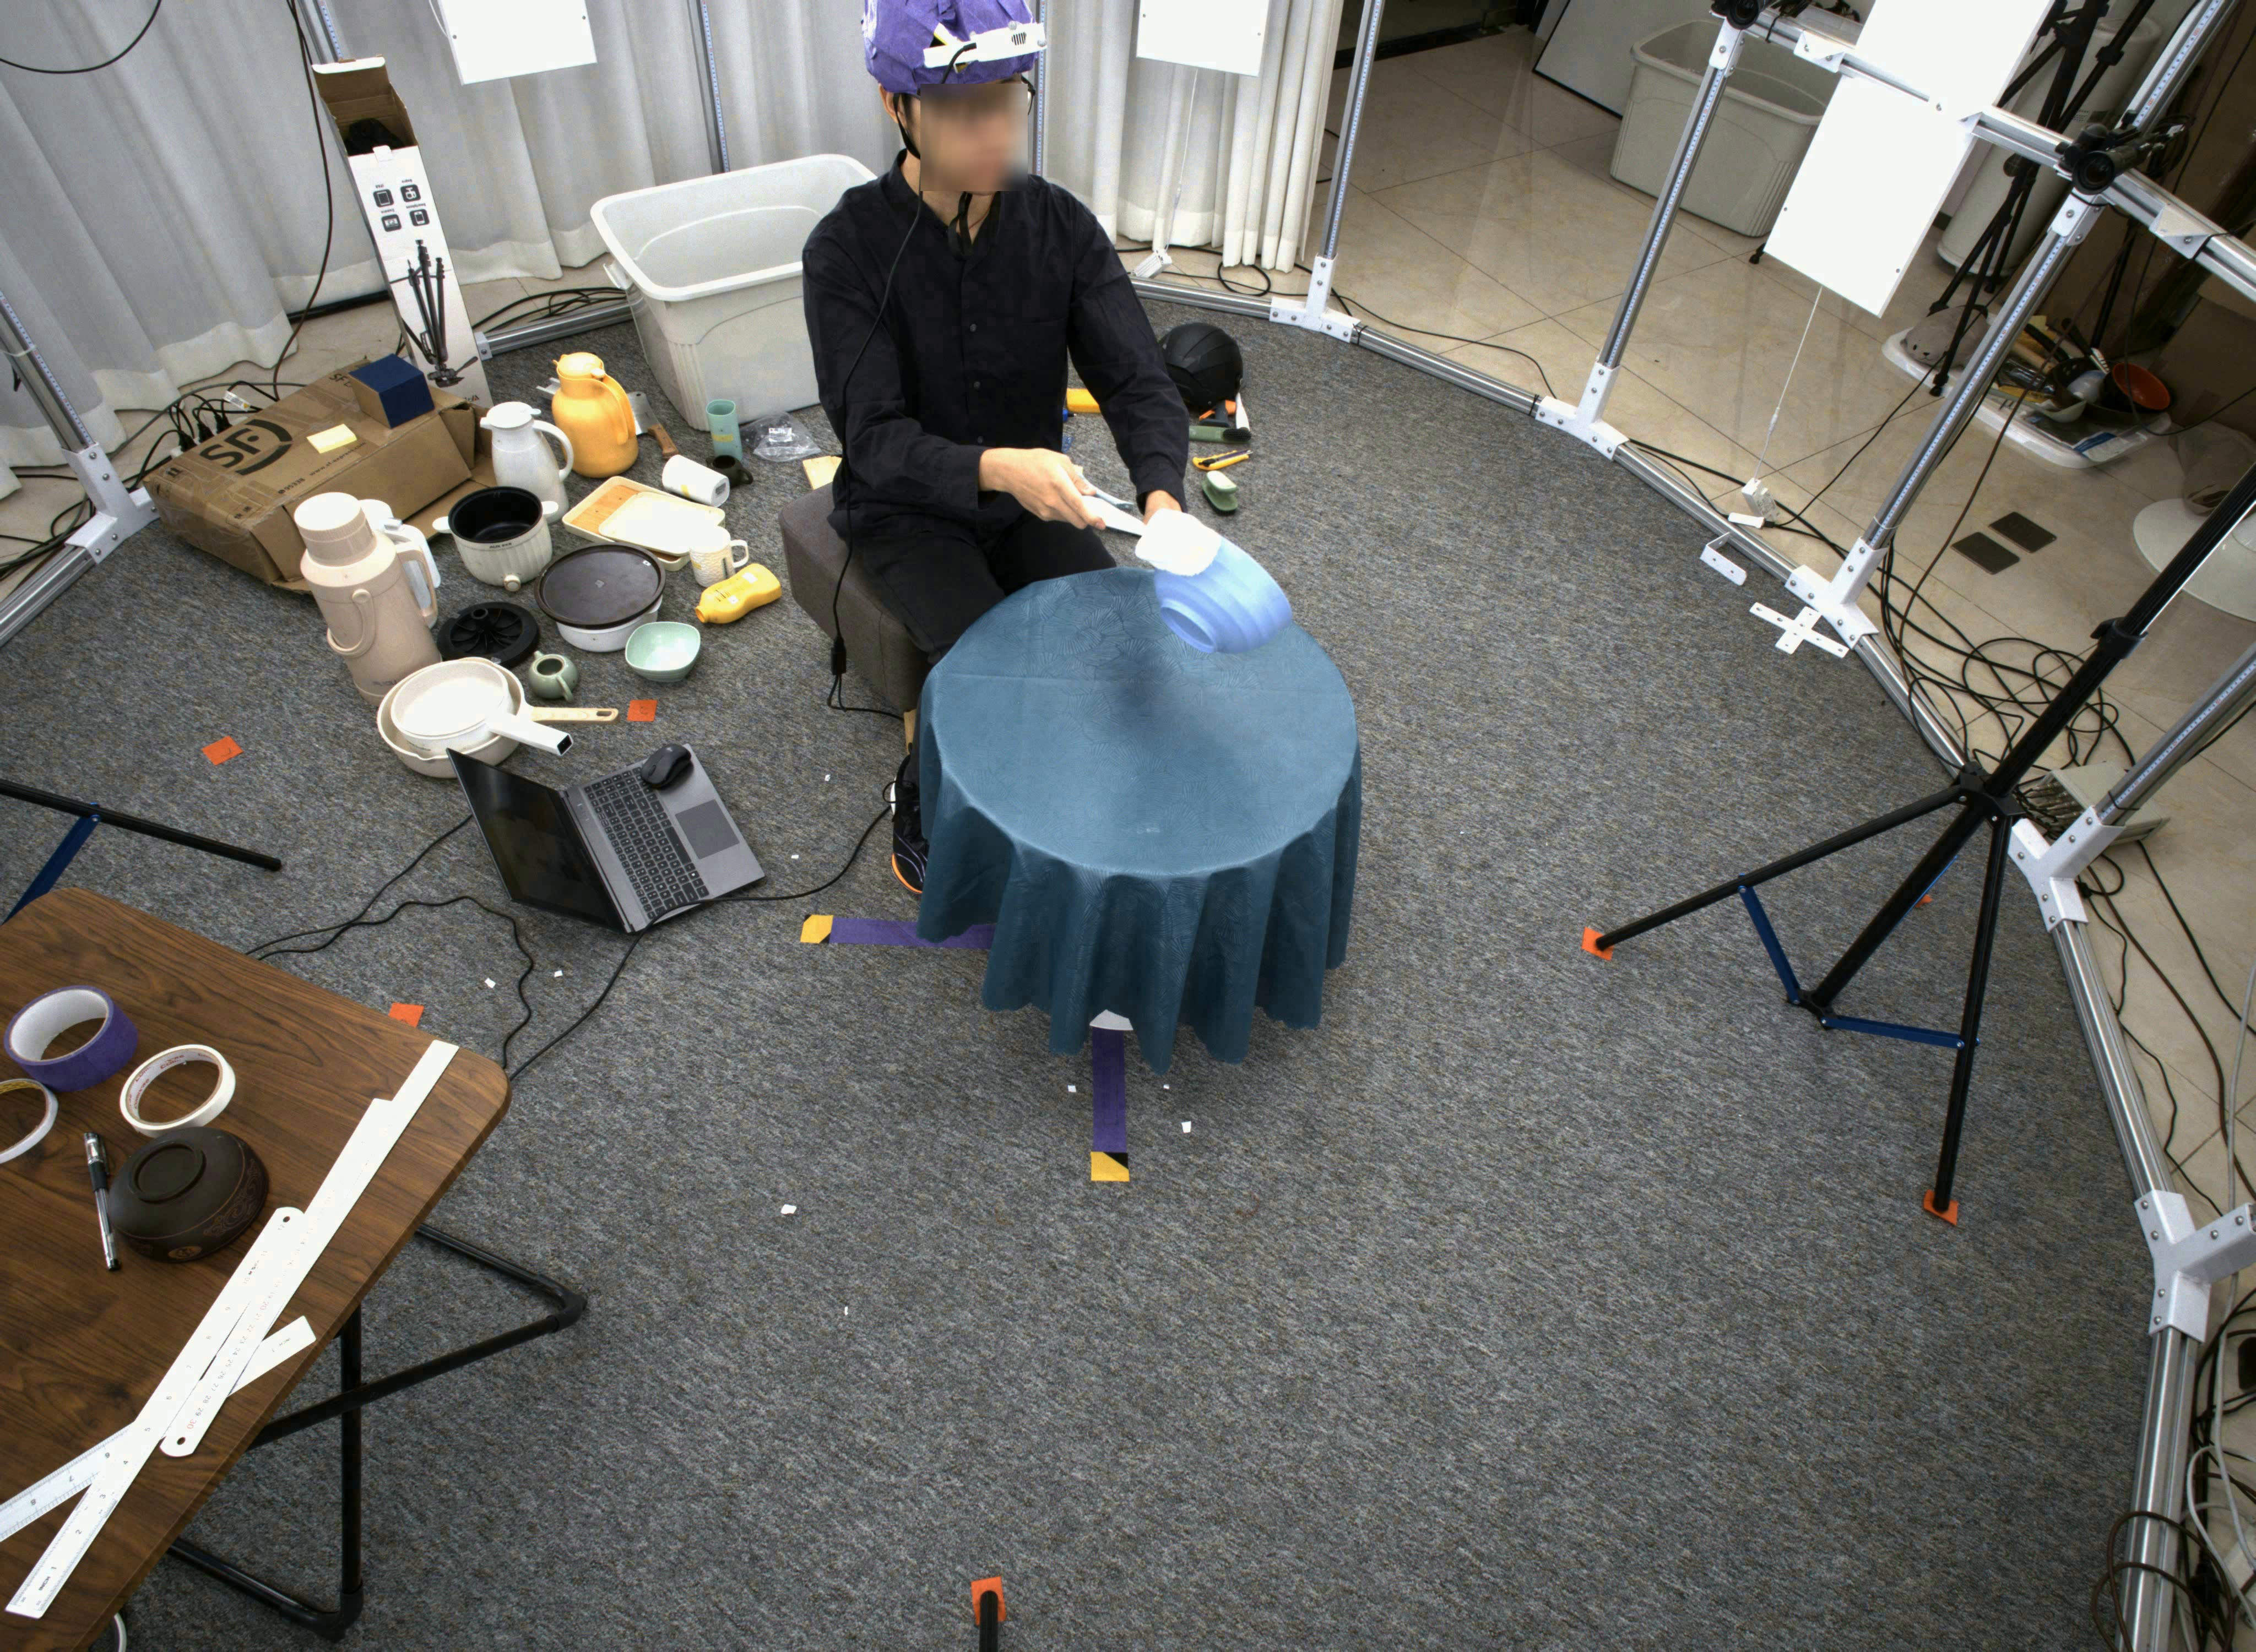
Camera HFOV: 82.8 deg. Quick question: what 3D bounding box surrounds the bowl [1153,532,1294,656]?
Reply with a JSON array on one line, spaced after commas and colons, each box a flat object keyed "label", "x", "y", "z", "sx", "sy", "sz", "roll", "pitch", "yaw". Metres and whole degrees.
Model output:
[{"label": "bowl", "x": 0.105, "y": -0.284, "z": 1.645, "sx": 0.199, "sy": 0.193, "sz": 0.096, "roll": 34, "pitch": 79, "yaw": 21}]

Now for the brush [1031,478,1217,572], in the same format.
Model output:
[{"label": "brush", "x": 0.001, "y": -0.386, "z": 1.631, "sx": 0.084, "sy": 0.082, "sz": 0.330, "roll": -36, "pitch": 41, "yaw": -24}]
